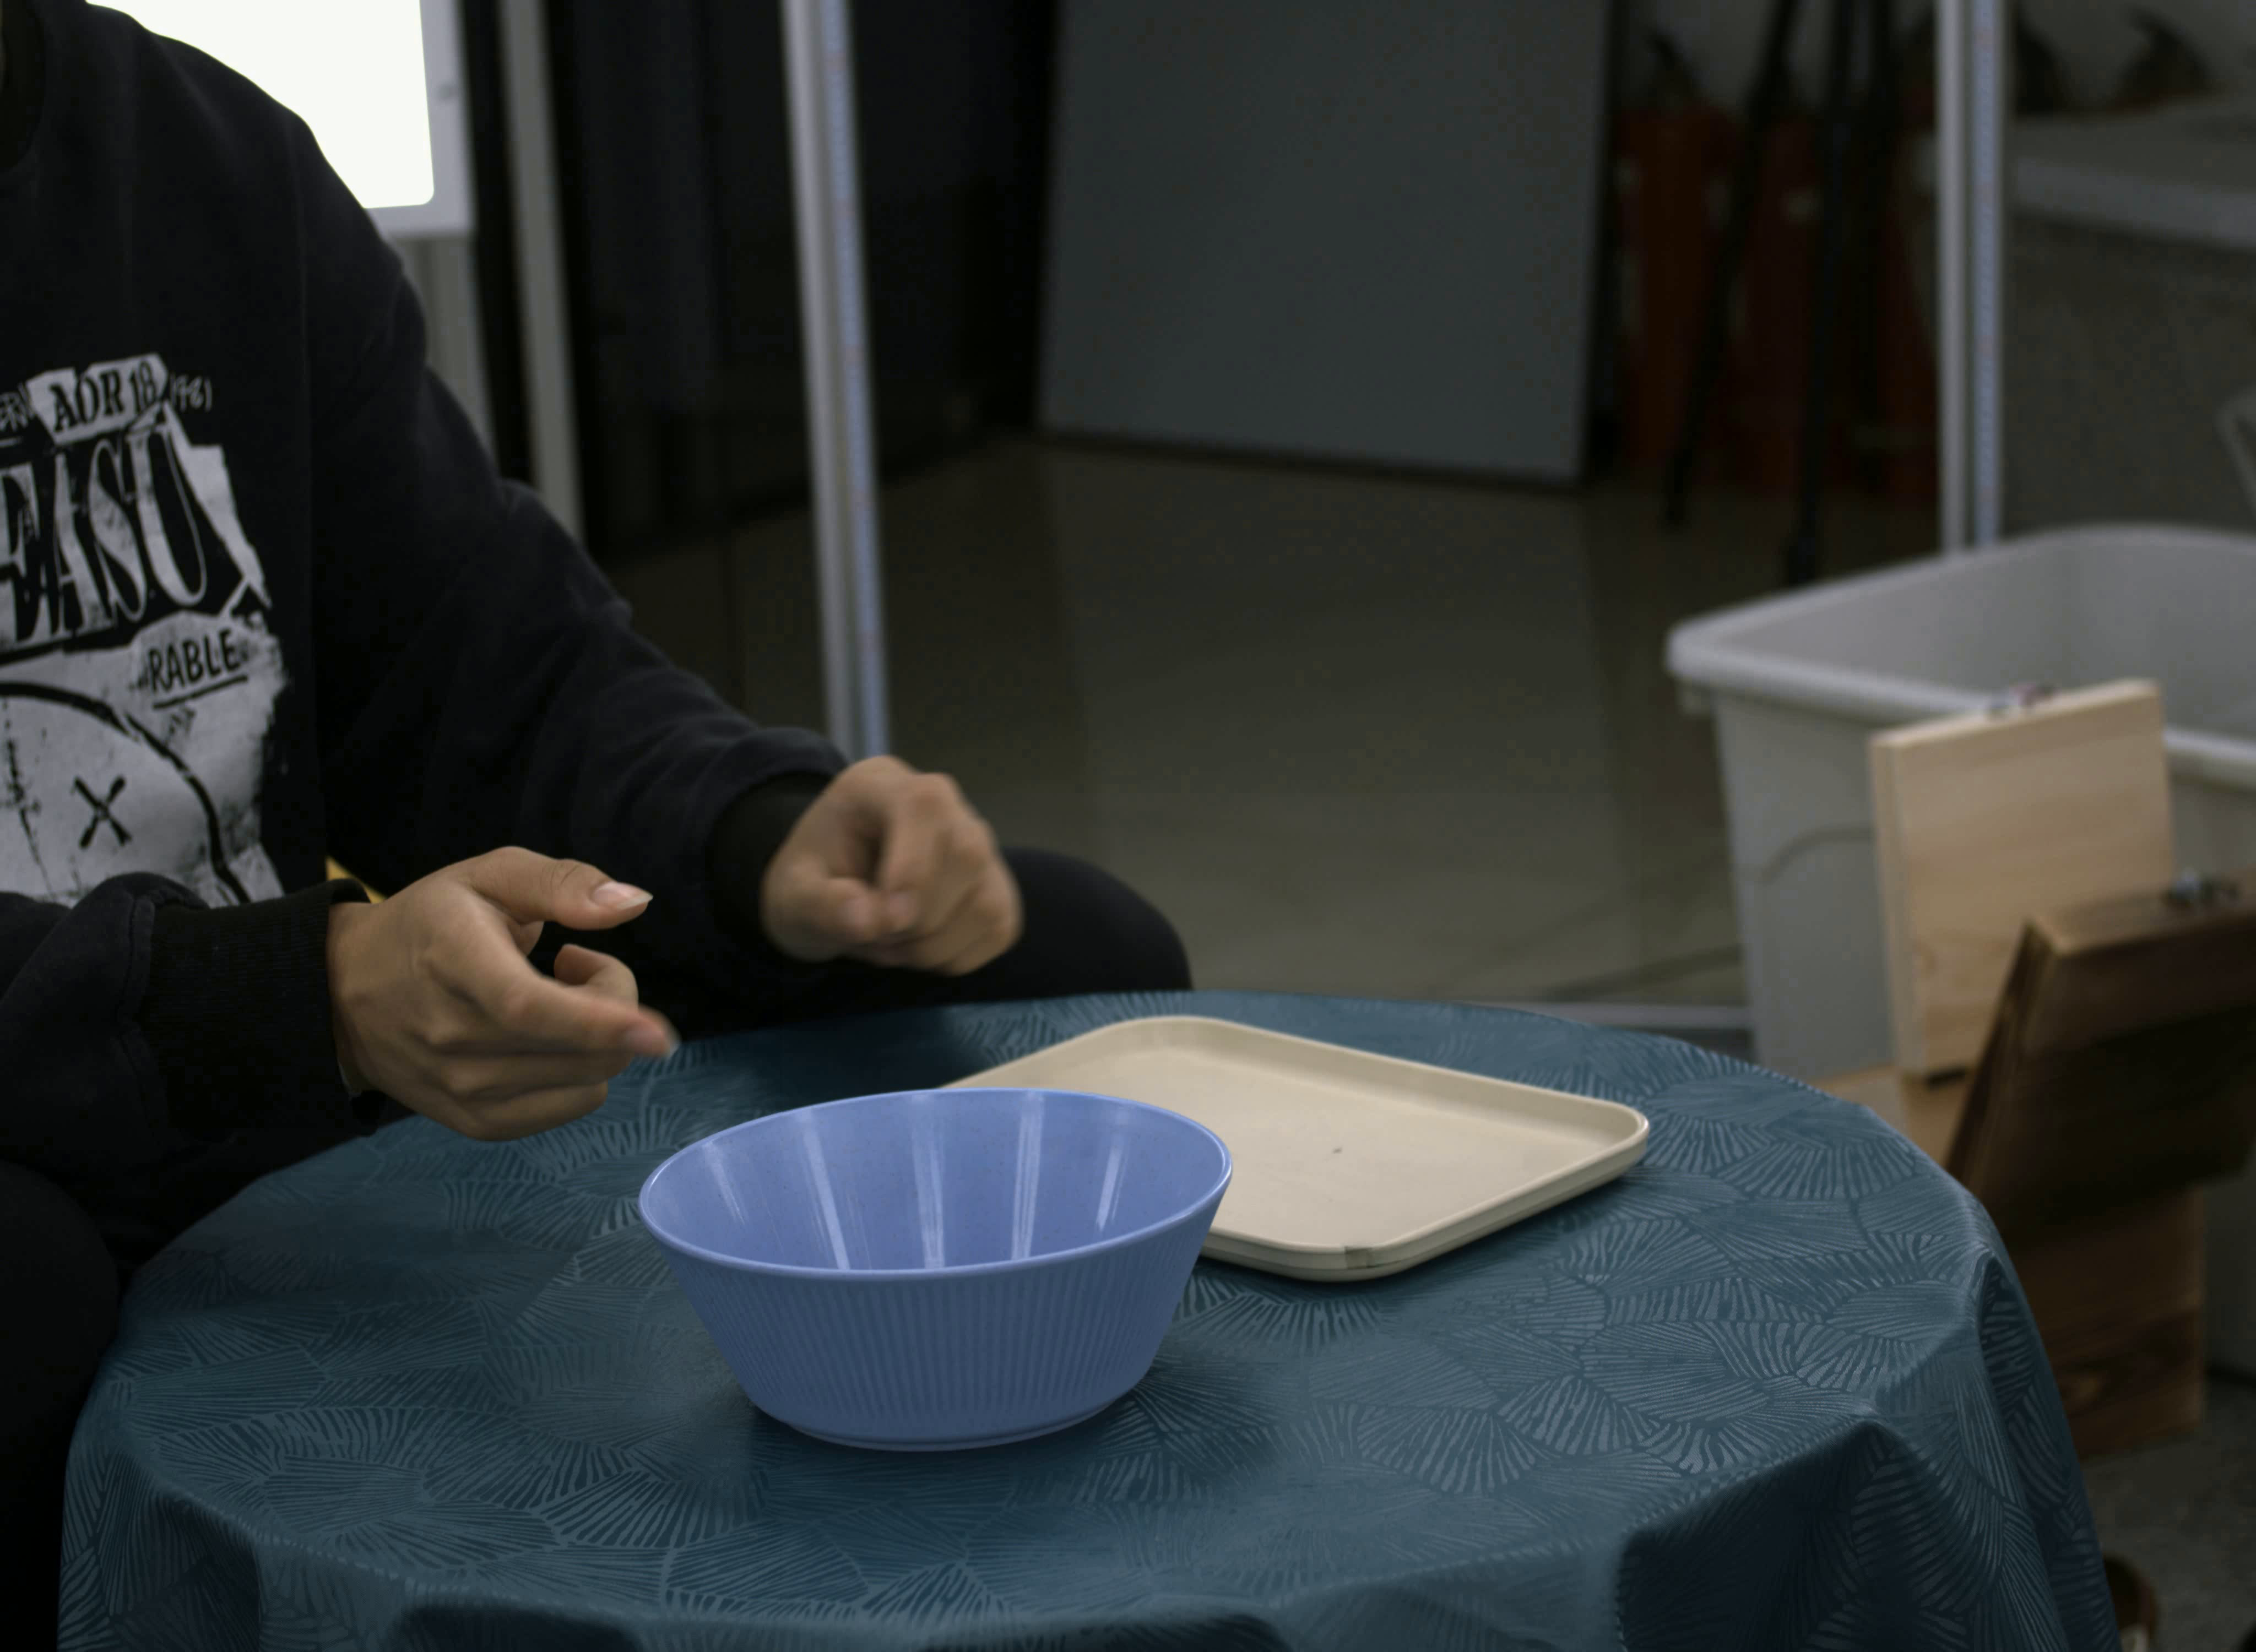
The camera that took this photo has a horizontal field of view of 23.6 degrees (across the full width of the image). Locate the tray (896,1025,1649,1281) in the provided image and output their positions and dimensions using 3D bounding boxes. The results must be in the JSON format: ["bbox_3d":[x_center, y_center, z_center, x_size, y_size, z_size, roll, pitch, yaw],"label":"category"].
[{"bbox_3d":[0.041,0.107,1.780,0.242,0.017,0.168,9,19,43],"label":"tray"}]

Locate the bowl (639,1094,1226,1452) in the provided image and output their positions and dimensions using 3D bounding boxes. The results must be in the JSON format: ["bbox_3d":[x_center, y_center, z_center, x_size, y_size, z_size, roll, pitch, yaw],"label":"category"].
[{"bbox_3d":[-0.055,0.134,1.588,0.174,0.071,0.176,-4,13,0],"label":"bowl"}]
